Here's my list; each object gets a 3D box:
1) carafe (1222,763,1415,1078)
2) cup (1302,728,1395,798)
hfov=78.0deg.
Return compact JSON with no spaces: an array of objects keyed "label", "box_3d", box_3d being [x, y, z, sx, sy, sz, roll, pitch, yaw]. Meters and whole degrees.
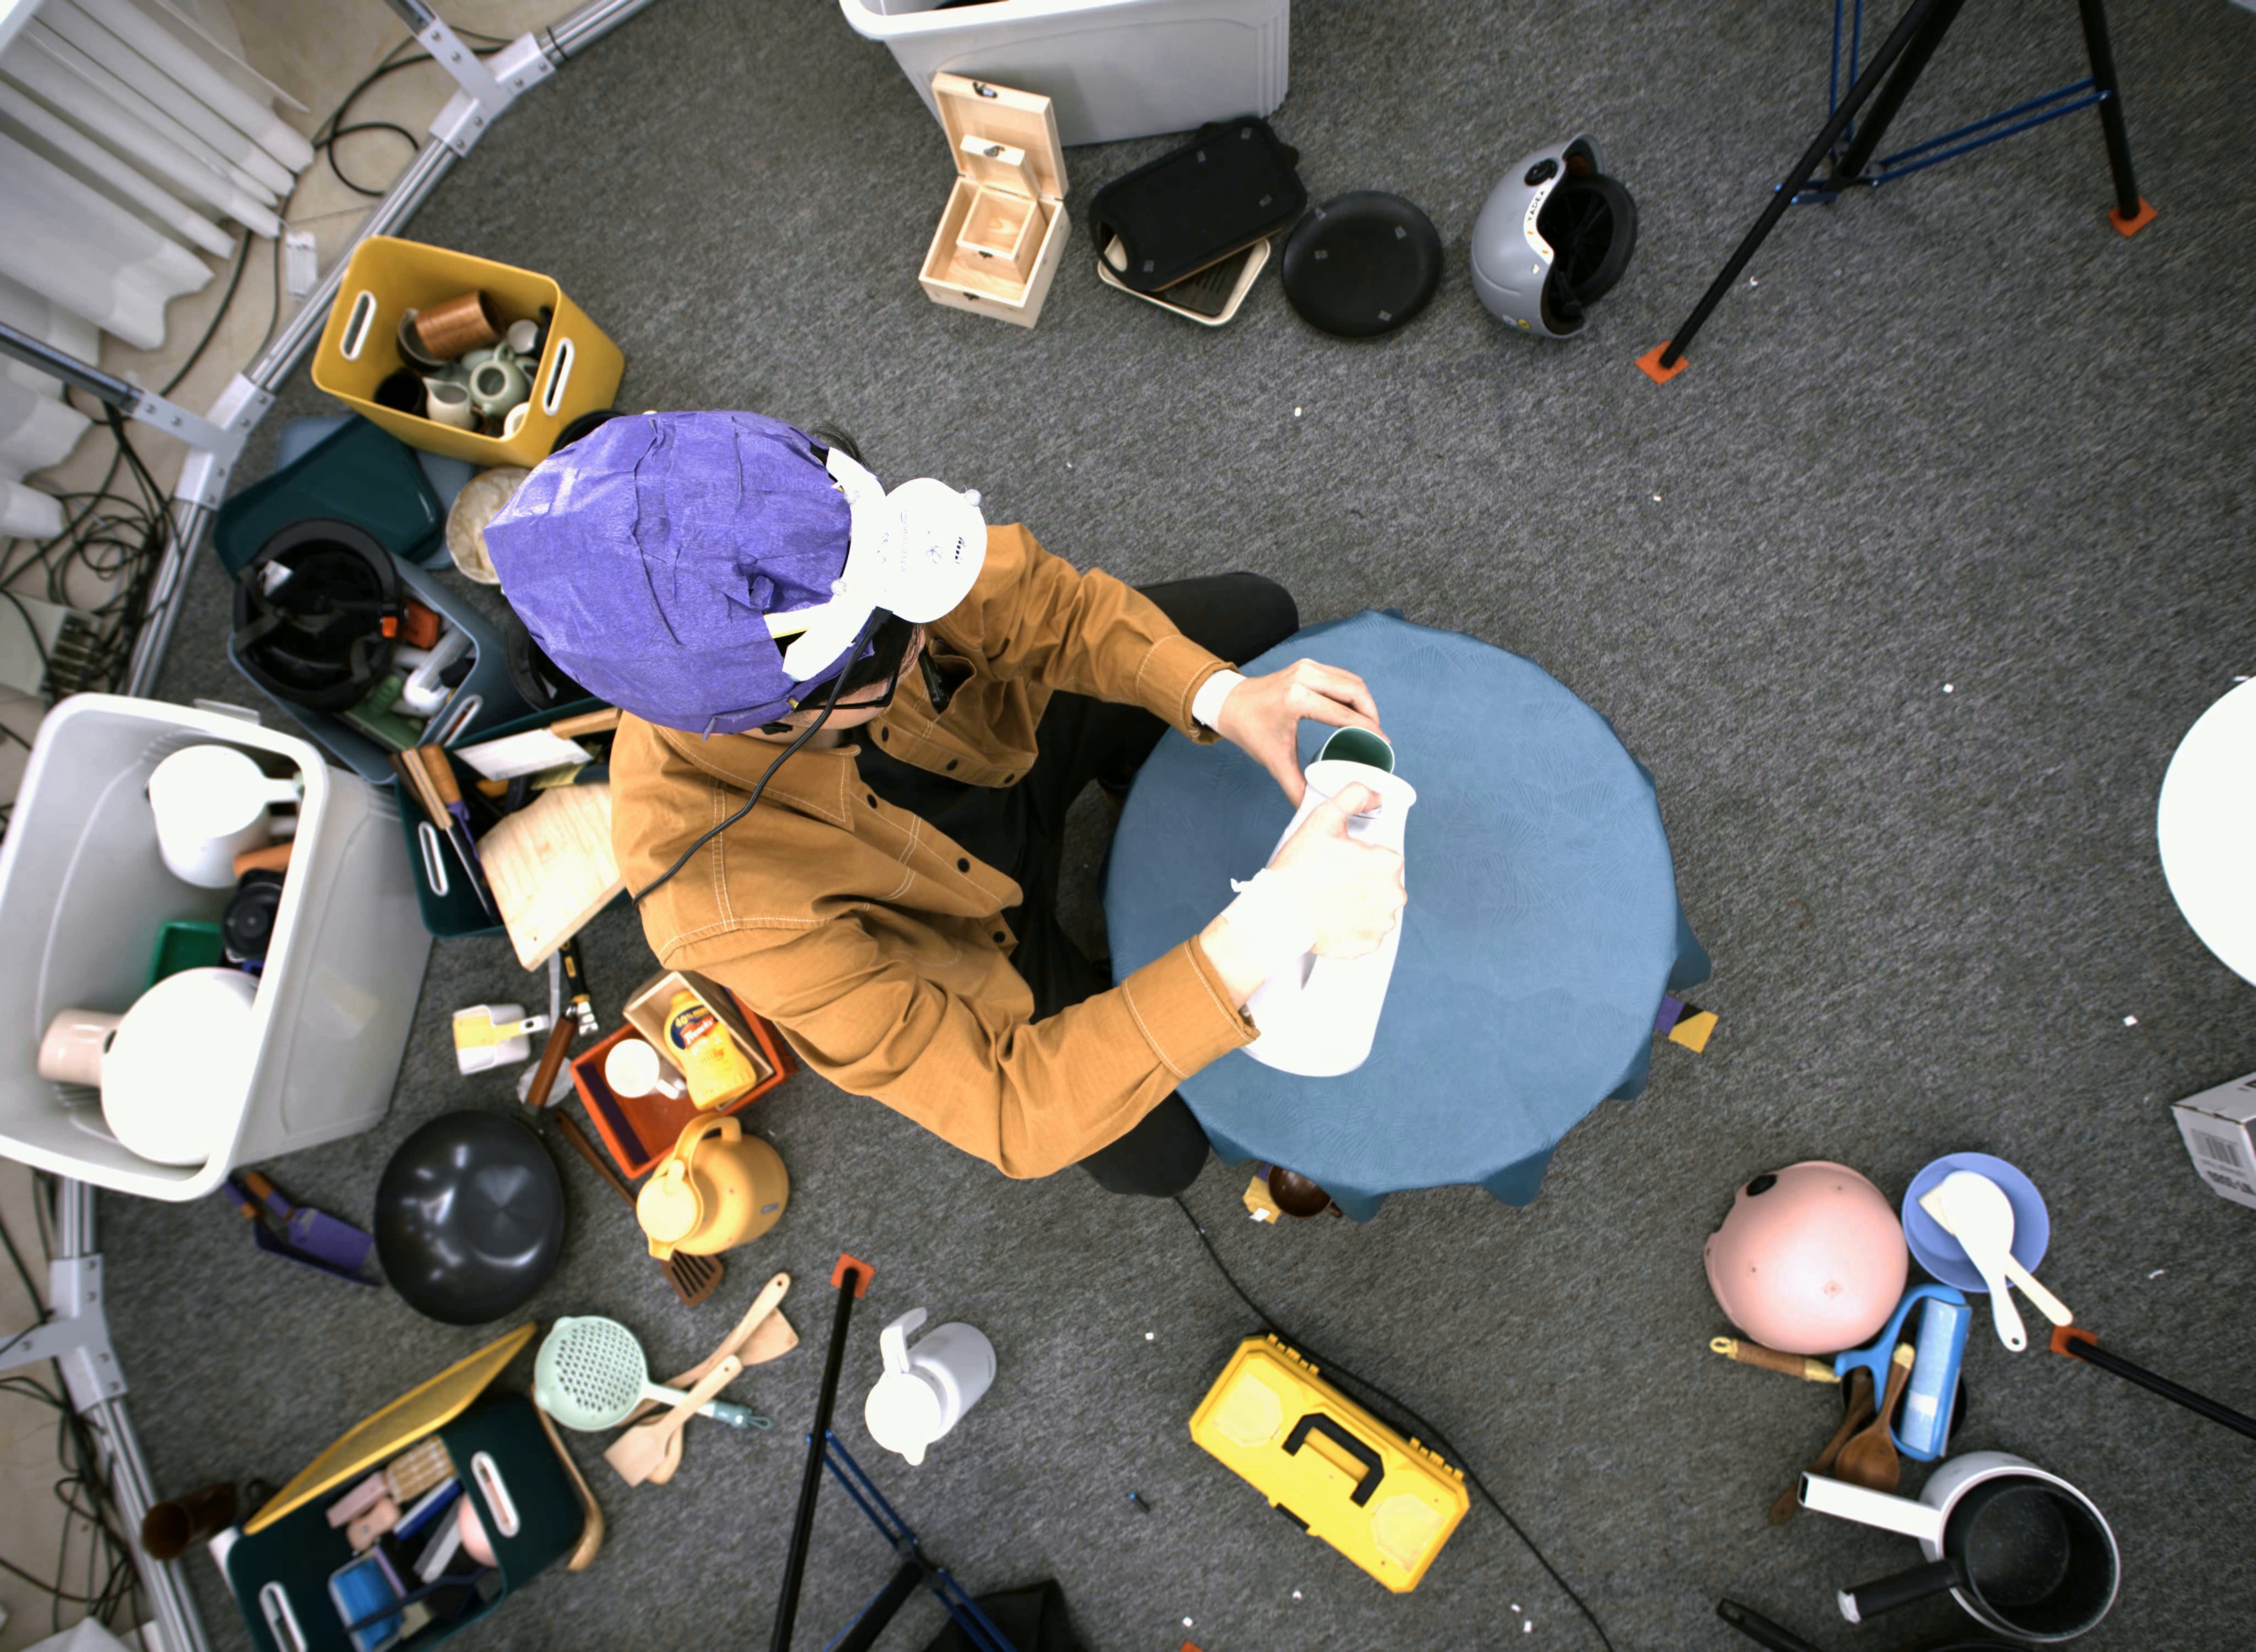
[{"label":"carafe","box_3d":[0.166,0.080,1.143,0.132,0.164,0.254,11,117,1]},{"label":"cup","box_3d":[0.196,-0.049,1.246,0.067,0.132,0.066,0,87,1]}]
